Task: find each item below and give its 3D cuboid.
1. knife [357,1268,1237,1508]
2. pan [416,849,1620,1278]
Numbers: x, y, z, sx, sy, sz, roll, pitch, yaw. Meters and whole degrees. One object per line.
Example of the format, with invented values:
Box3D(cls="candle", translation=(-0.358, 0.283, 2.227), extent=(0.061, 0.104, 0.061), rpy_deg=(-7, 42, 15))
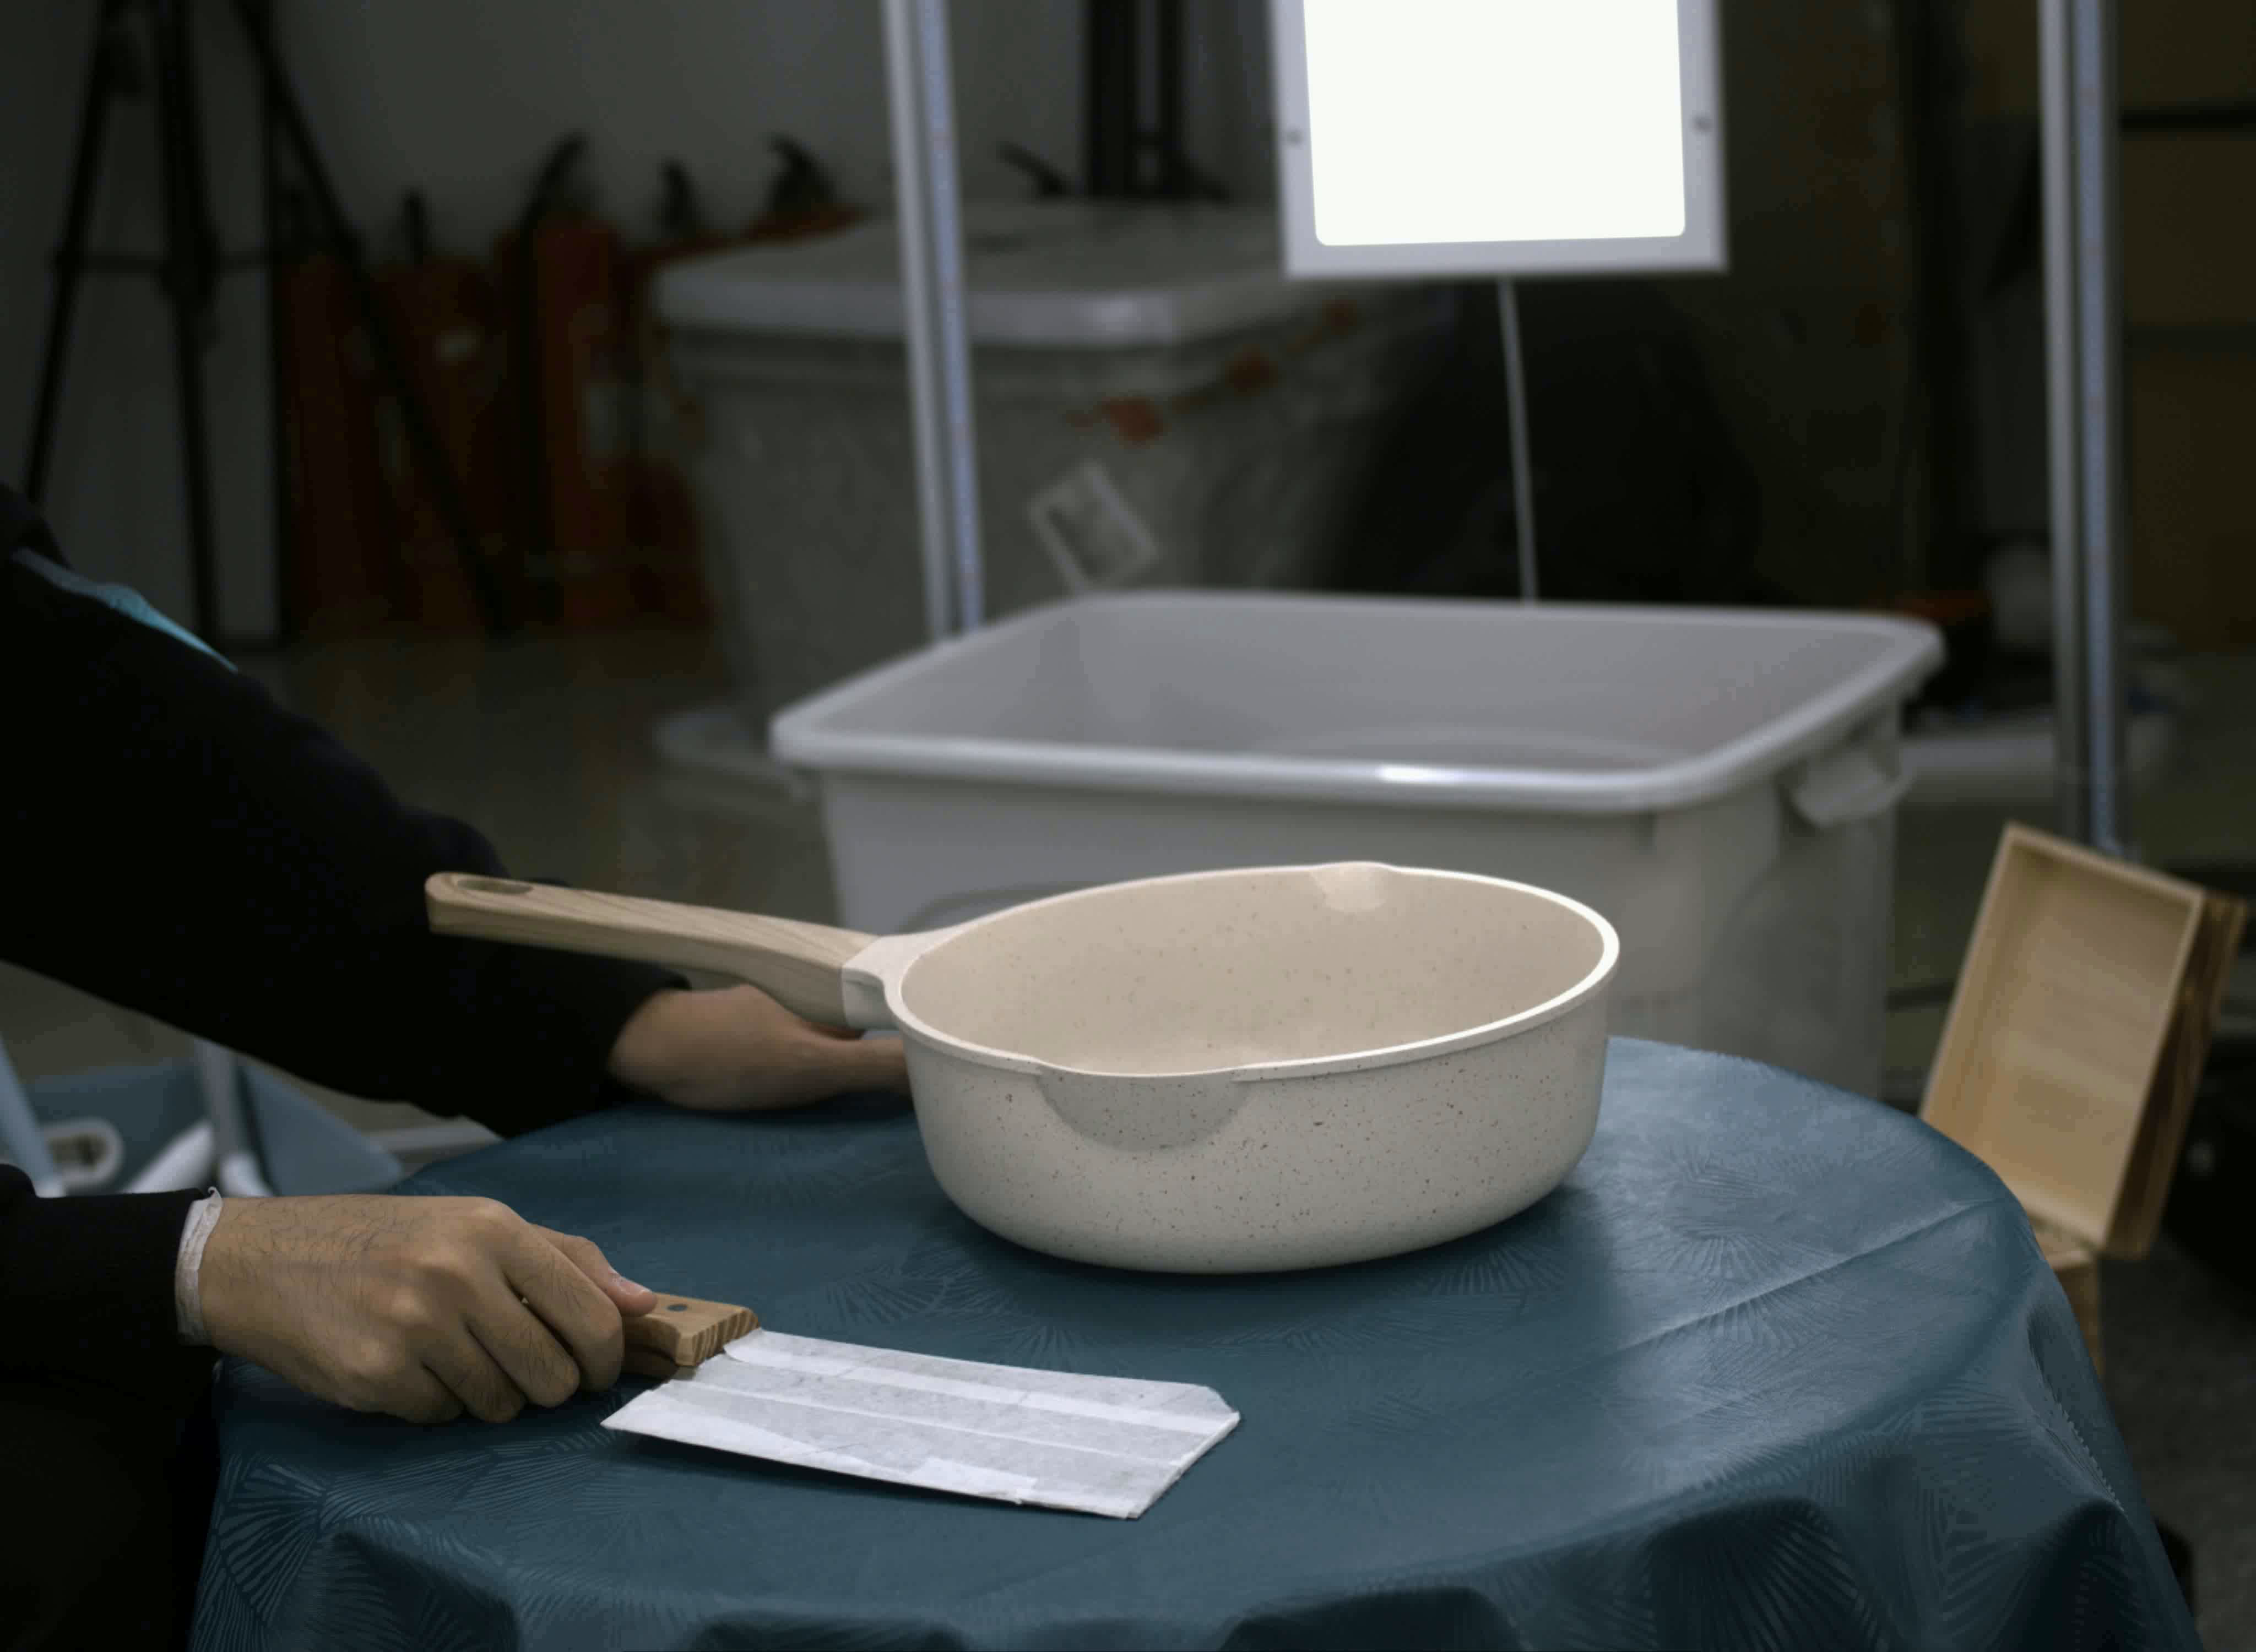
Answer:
Box3D(cls="knife", translation=(-0.110, 0.172, 1.714), extent=(0.321, 0.022, 0.111), rpy_deg=(7, 18, 32))
Box3D(cls="pan", translation=(-0.042, 0.076, 1.913), extent=(0.441, 0.102, 0.259), rpy_deg=(0, 17, 20))
